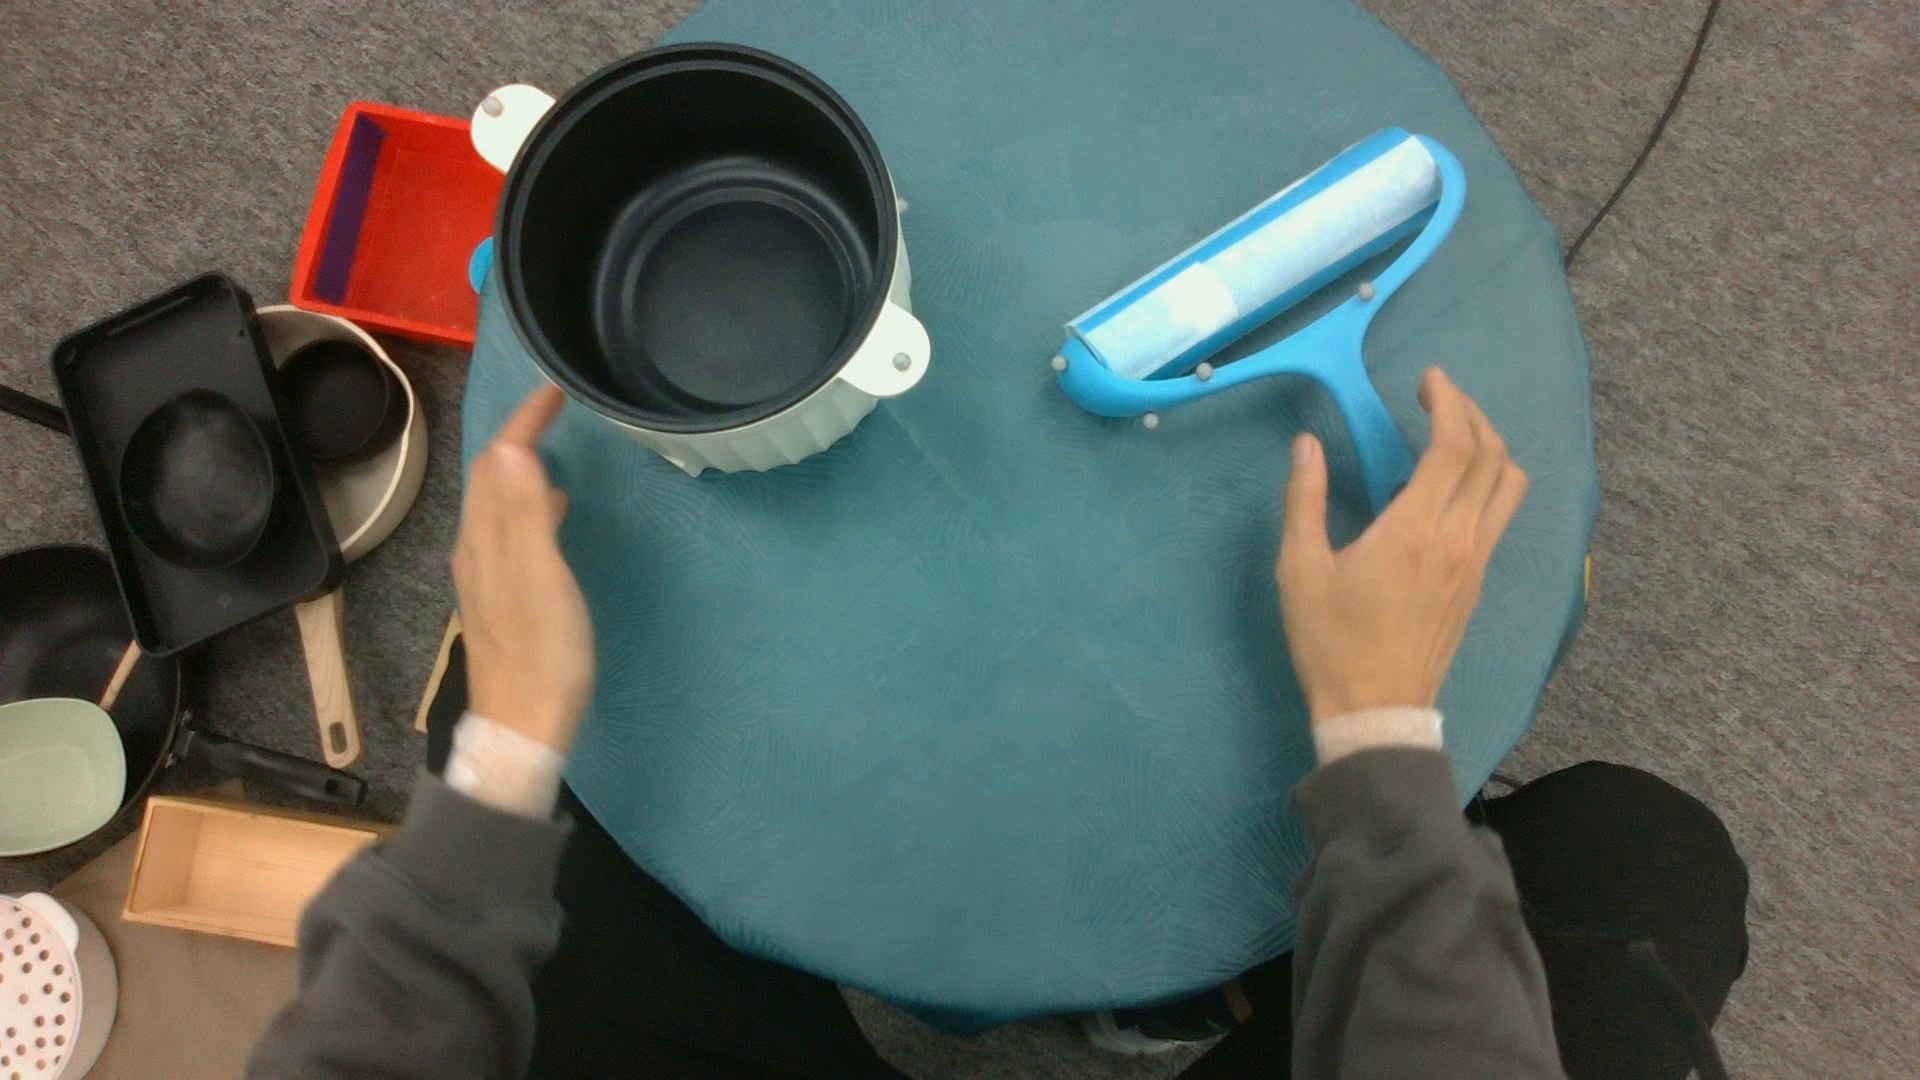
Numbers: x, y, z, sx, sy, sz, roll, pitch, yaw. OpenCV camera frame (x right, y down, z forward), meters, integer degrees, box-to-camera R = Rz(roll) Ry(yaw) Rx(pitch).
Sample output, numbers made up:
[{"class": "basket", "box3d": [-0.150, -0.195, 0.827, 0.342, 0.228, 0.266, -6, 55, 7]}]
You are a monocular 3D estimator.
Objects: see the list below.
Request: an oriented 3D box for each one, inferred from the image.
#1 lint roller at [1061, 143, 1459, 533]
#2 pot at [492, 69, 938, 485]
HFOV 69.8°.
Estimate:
[{"class": "lint roller", "box3d": [0.186, -0.087, 0.709, 0.229, 0.068, 0.180, -33, 78, -3]}, {"class": "pot", "box3d": [-0.109, -0.127, 0.695, 0.240, 0.142, 0.190, 31, 87, 7]}]
